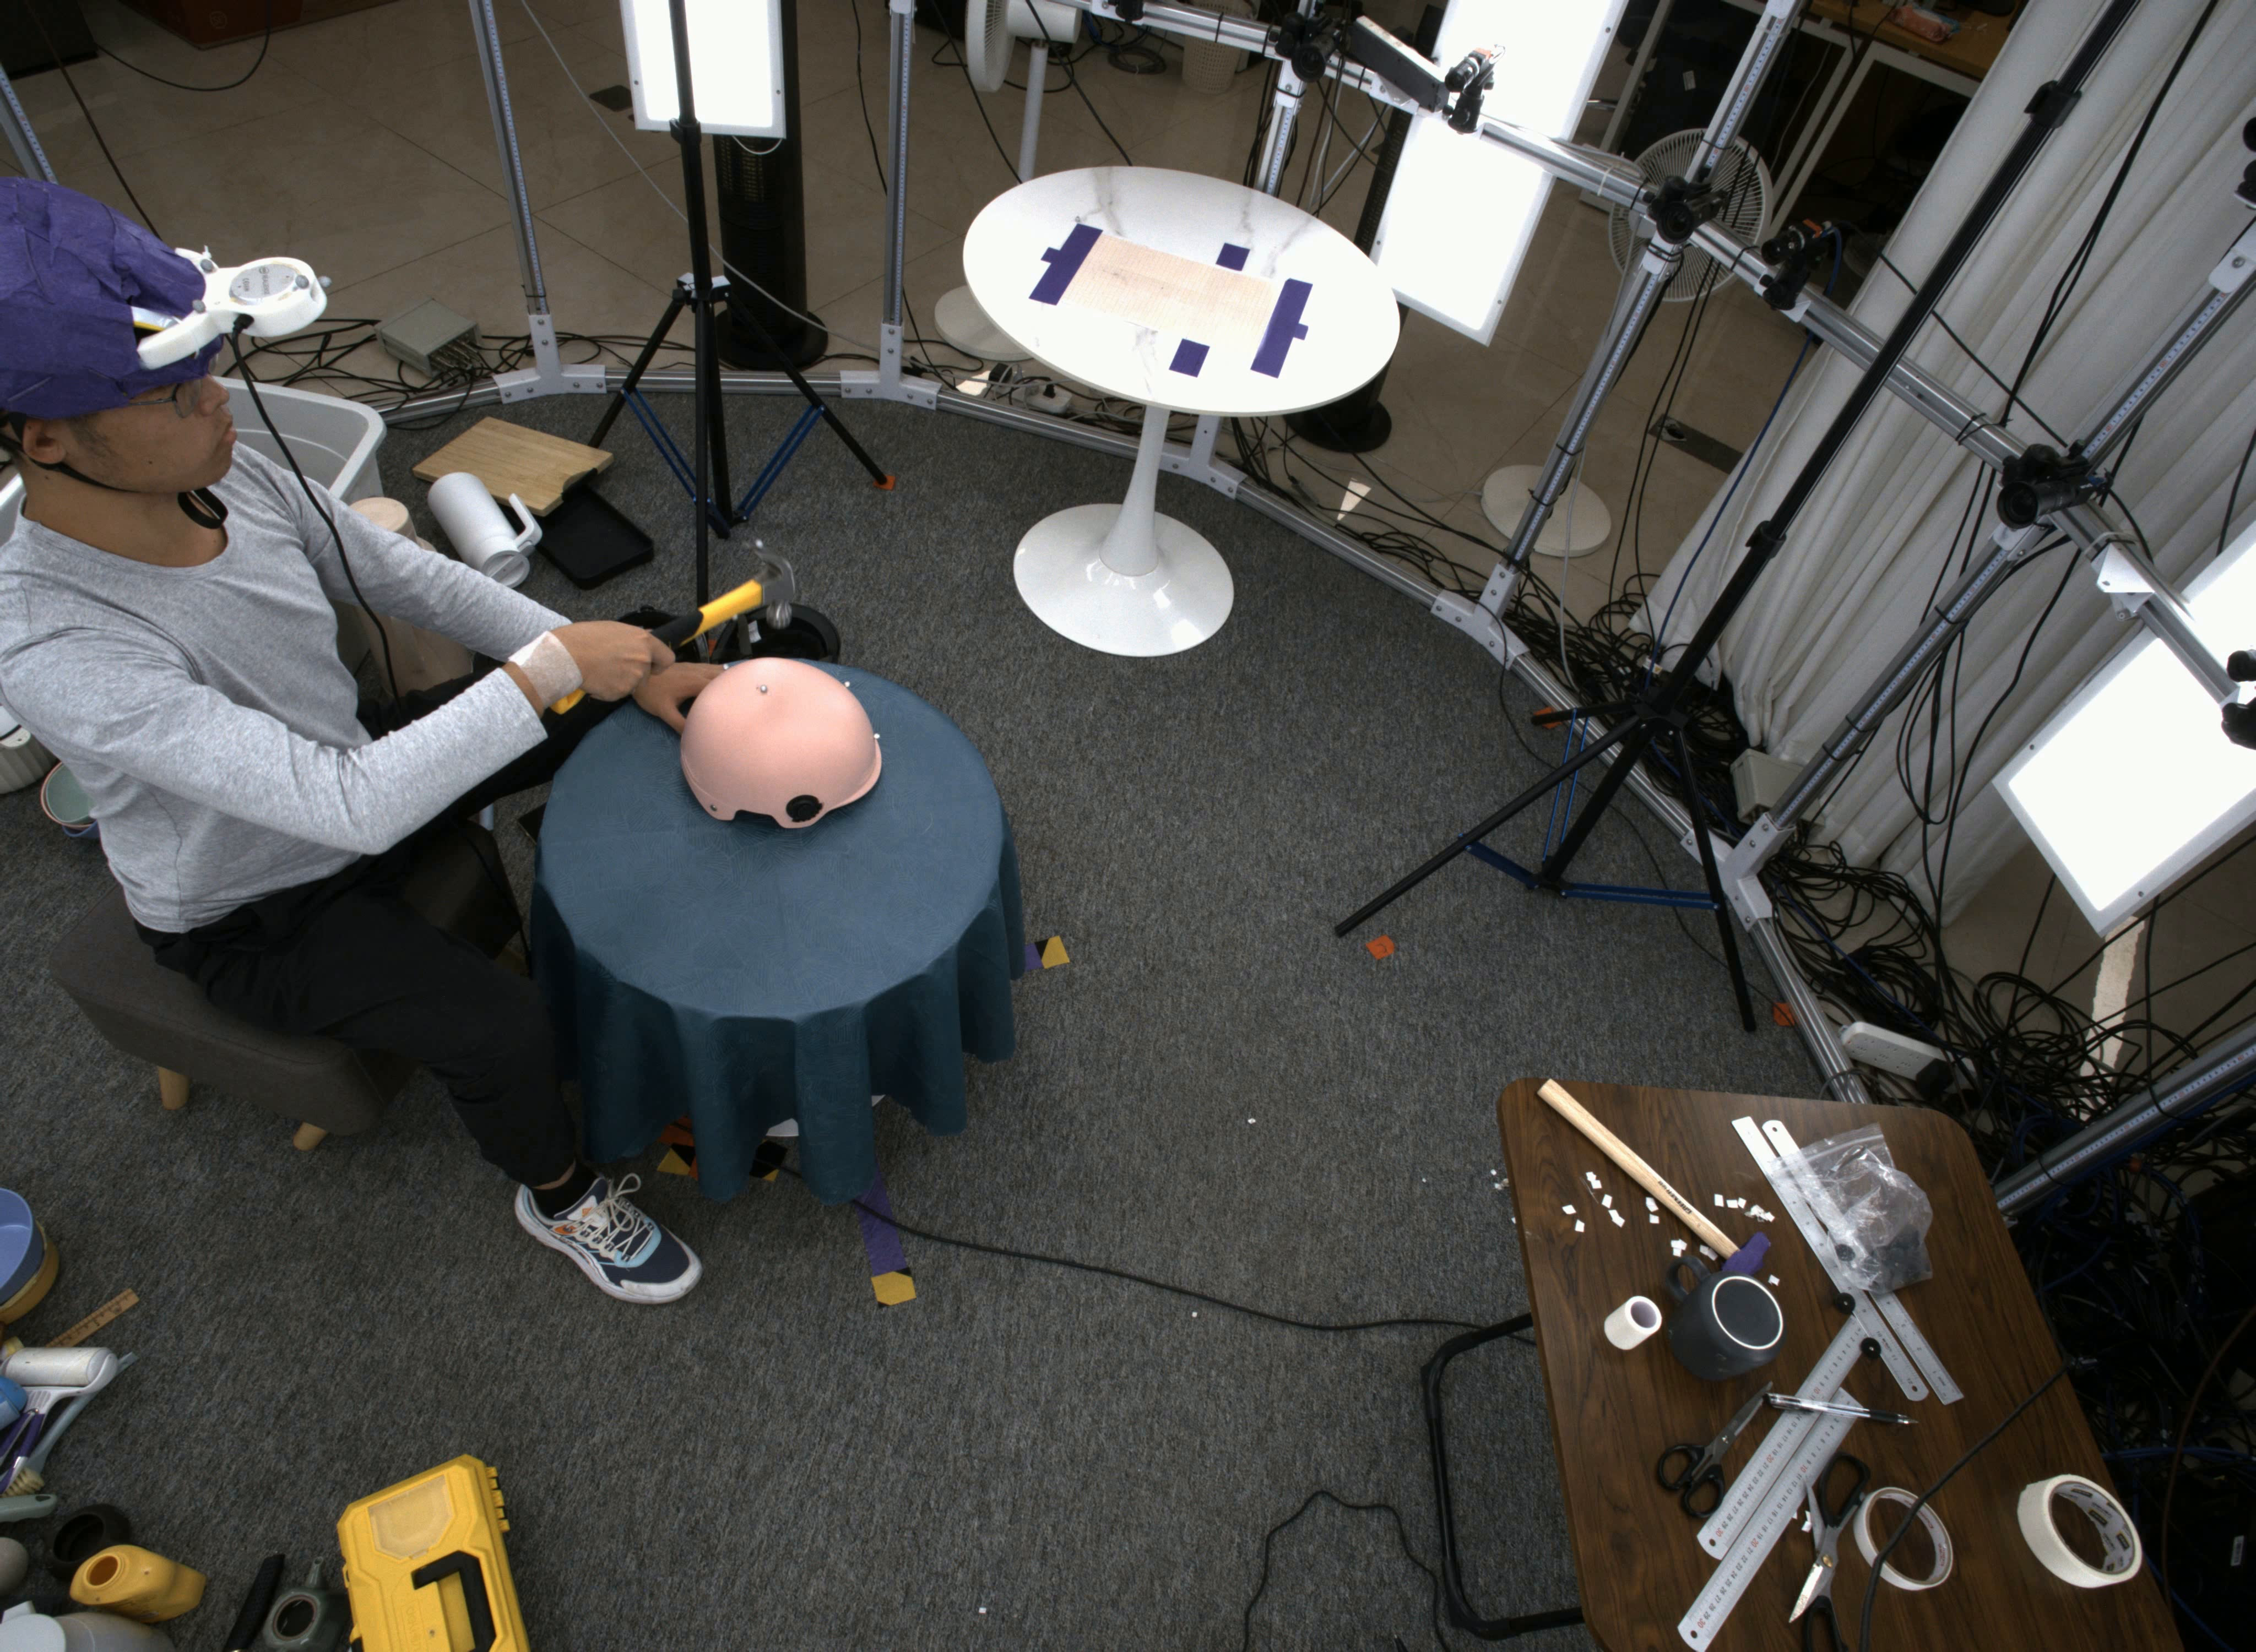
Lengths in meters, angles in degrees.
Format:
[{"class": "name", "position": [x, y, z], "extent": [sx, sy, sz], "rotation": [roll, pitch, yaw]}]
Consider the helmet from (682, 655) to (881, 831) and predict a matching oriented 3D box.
[{"class": "helmet", "position": [-0.458, -0.130, 1.717], "extent": [0.267, 0.161, 0.229], "rotation": [-1, 54, -18]}]

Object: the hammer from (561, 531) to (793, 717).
[{"class": "hammer", "position": [-0.513, -0.225, 1.445], "extent": [0.031, 0.134, 0.338], "rotation": [37, 53, 16]}]
